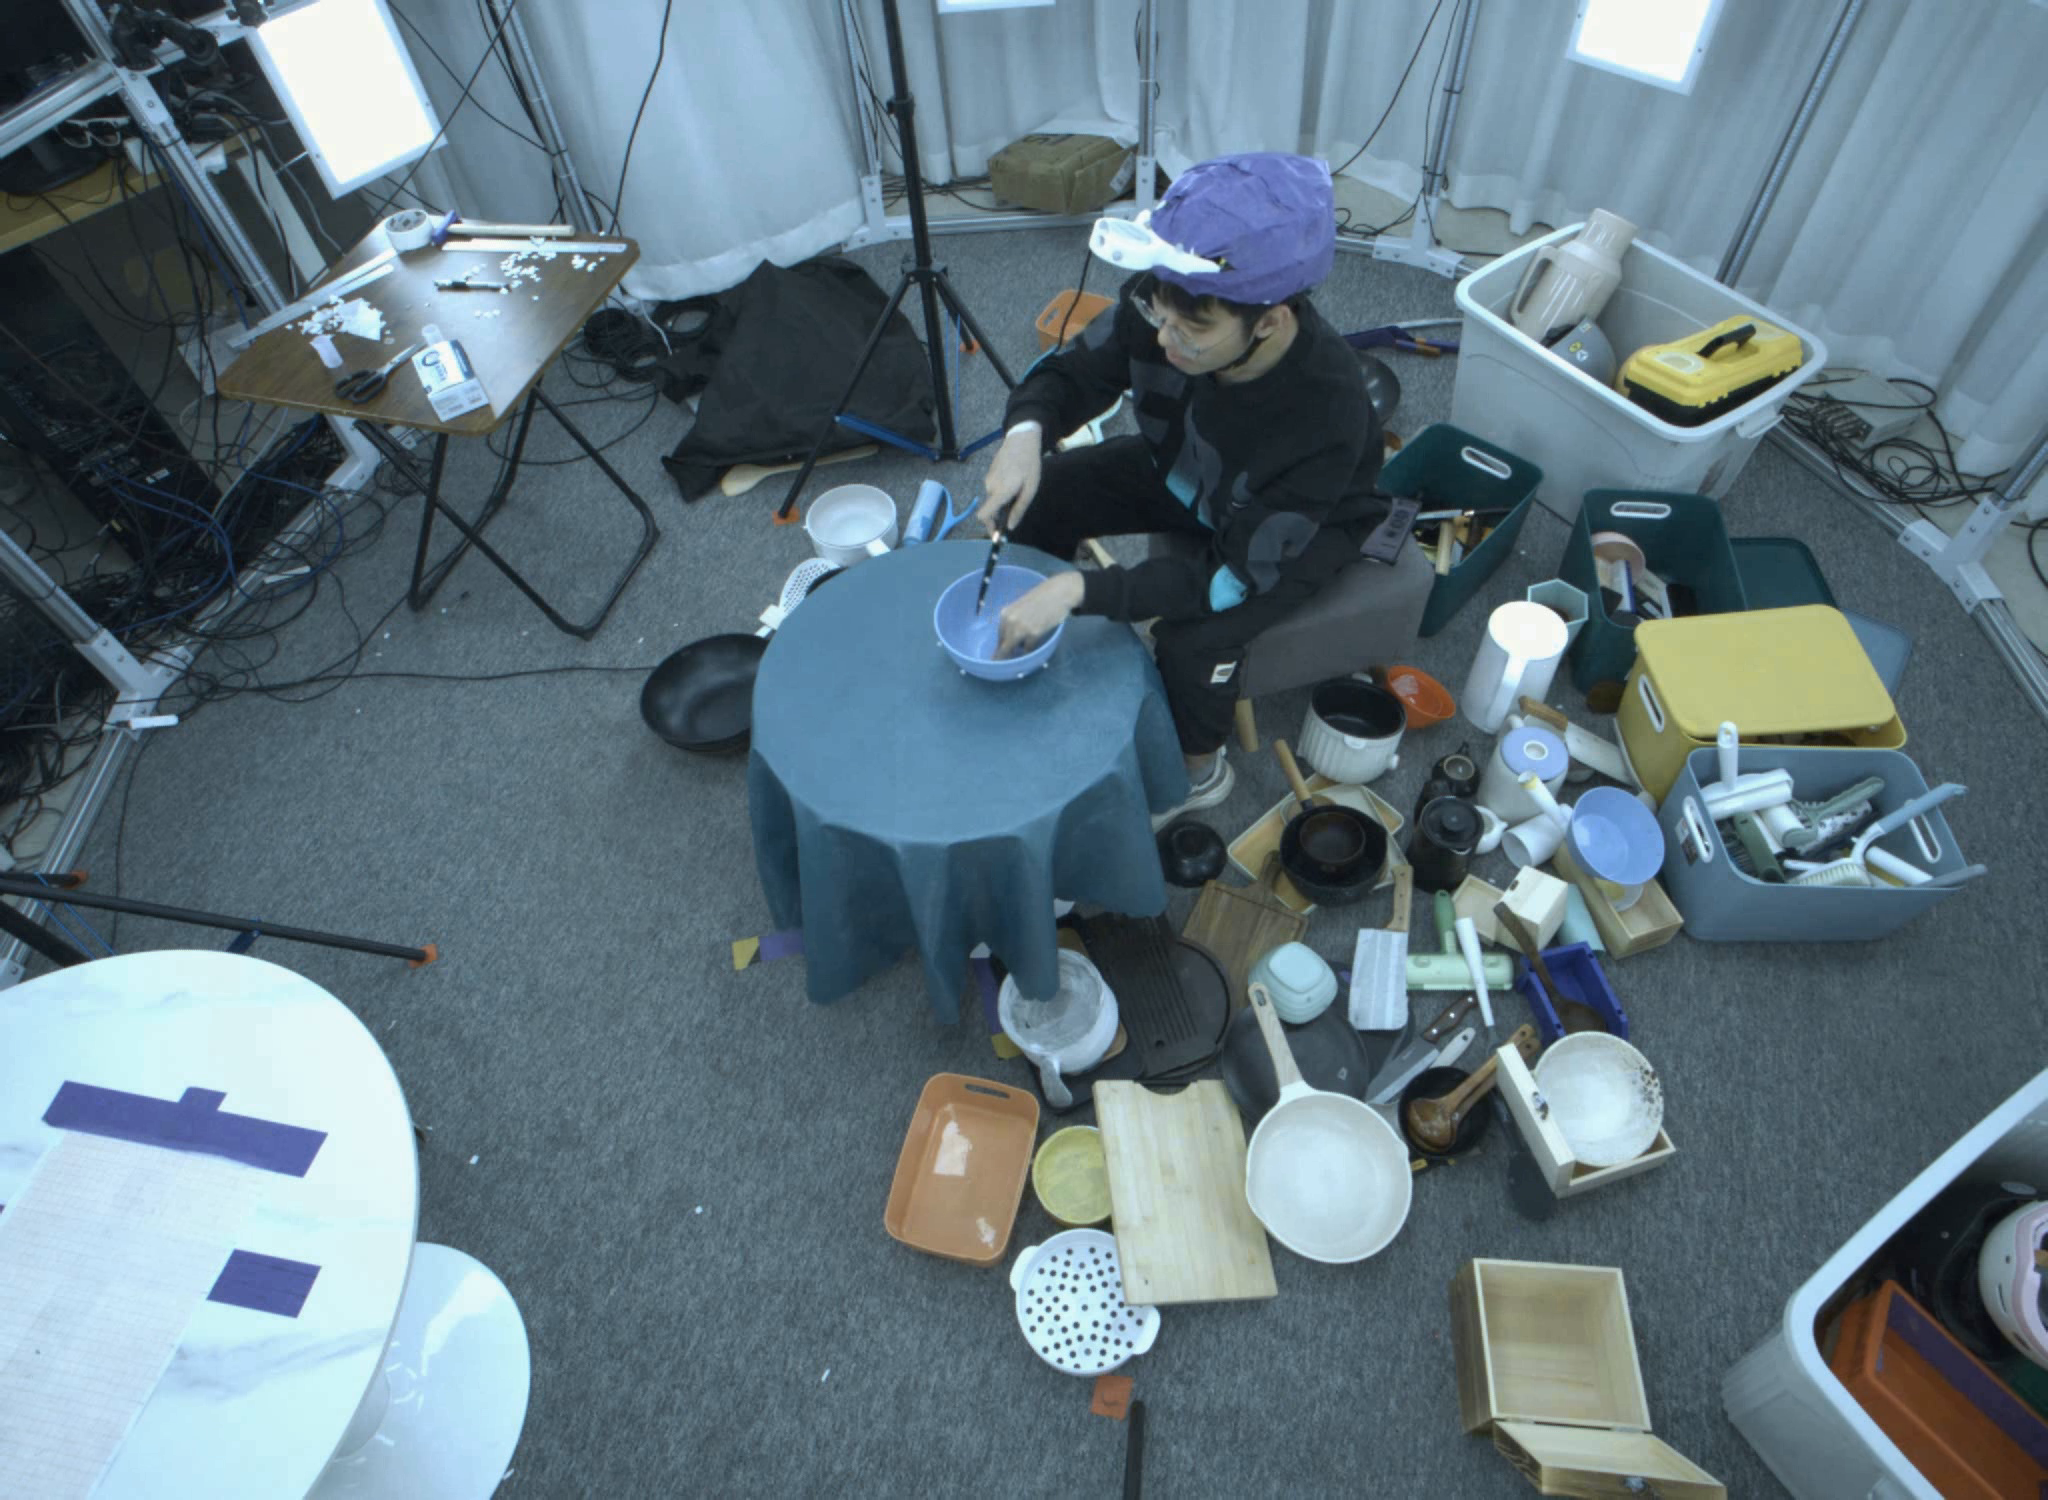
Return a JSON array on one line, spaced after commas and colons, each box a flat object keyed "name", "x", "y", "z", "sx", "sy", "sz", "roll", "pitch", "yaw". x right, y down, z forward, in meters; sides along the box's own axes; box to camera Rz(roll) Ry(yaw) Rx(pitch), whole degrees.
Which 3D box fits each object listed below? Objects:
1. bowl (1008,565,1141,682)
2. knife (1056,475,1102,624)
[{"name": "bowl", "x": 0.078, "y": -0.175, "z": 1.846, "sx": 0.196, "sy": 0.096, "sz": 0.194, "roll": -2, "pitch": 57, "yaw": 4}, {"name": "knife", "x": 0.077, "y": -0.296, "z": 1.807, "sx": 0.017, "sy": 0.027, "sz": 0.225, "roll": 18, "pitch": 94, "yaw": 27}]
